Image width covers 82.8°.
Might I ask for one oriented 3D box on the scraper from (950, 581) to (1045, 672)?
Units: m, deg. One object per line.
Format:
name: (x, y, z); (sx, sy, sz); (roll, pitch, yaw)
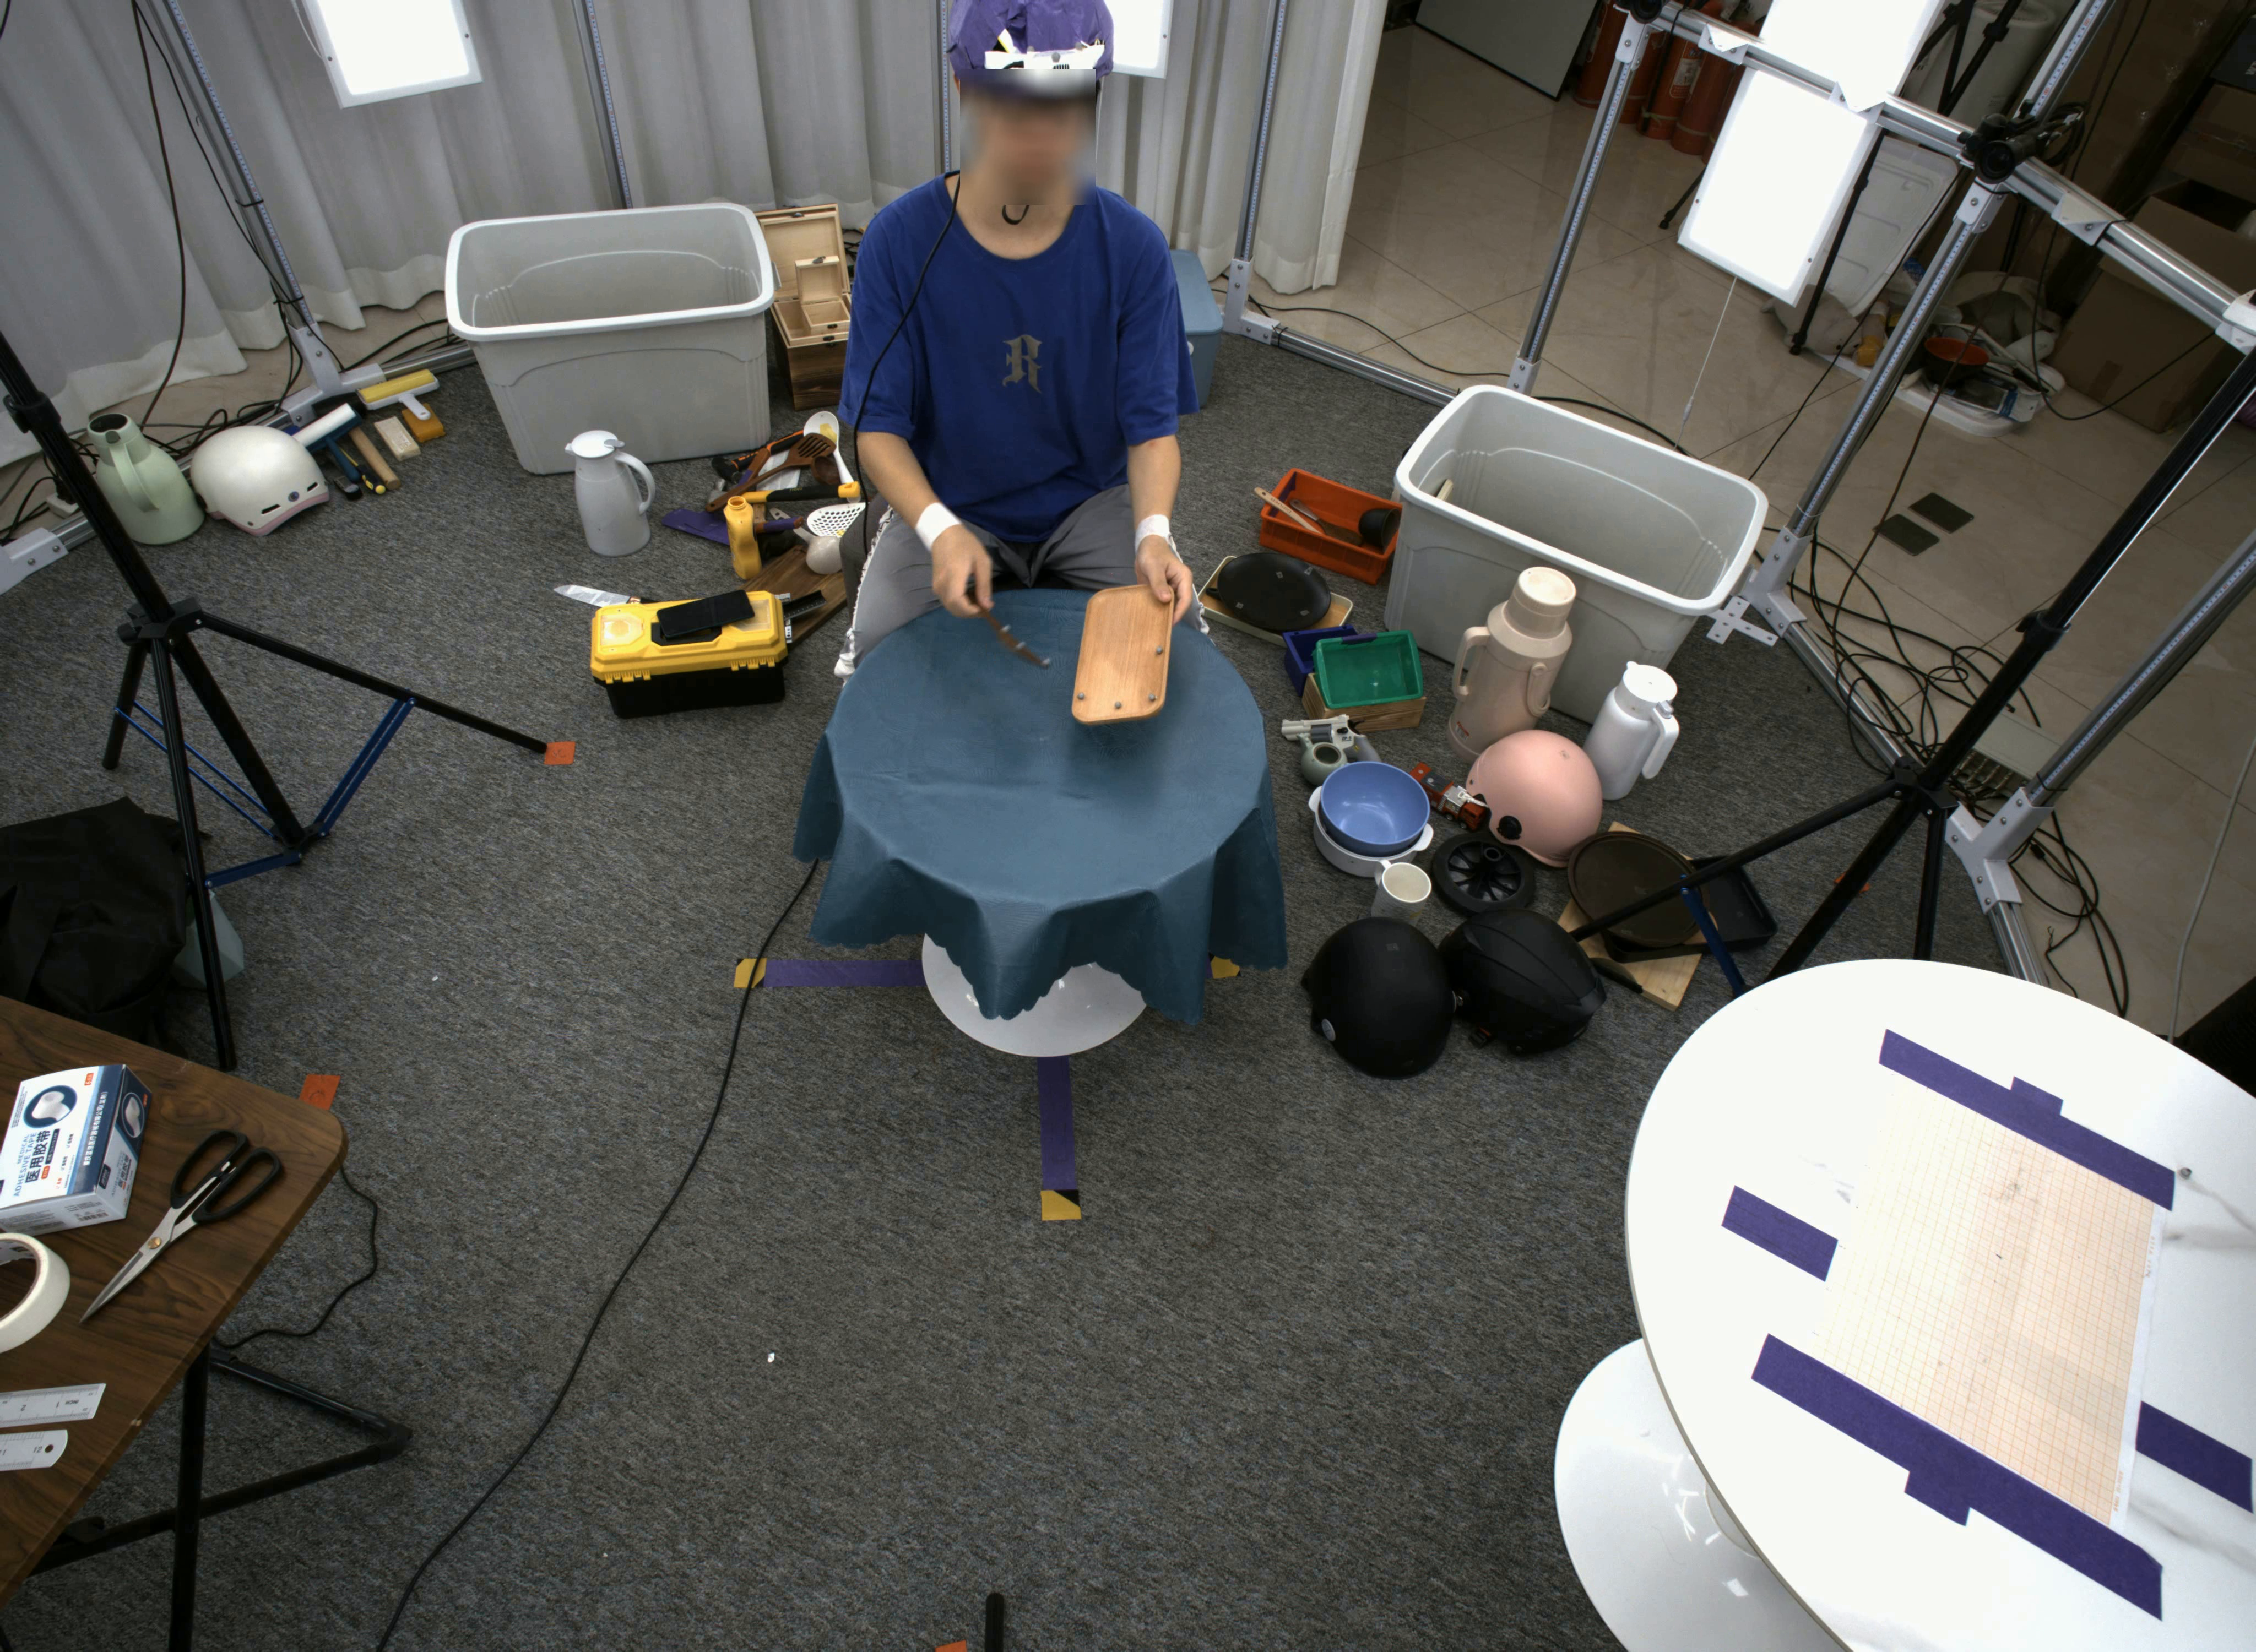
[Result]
scraper: (-0.187, -0.275, 1.761); (0.075, 0.011, 0.216); (16, 27, -50)

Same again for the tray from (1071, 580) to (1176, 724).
tray: (-0.004, -0.240, 1.758); (0.131, 0.022, 0.256); (-2, 52, 14)
